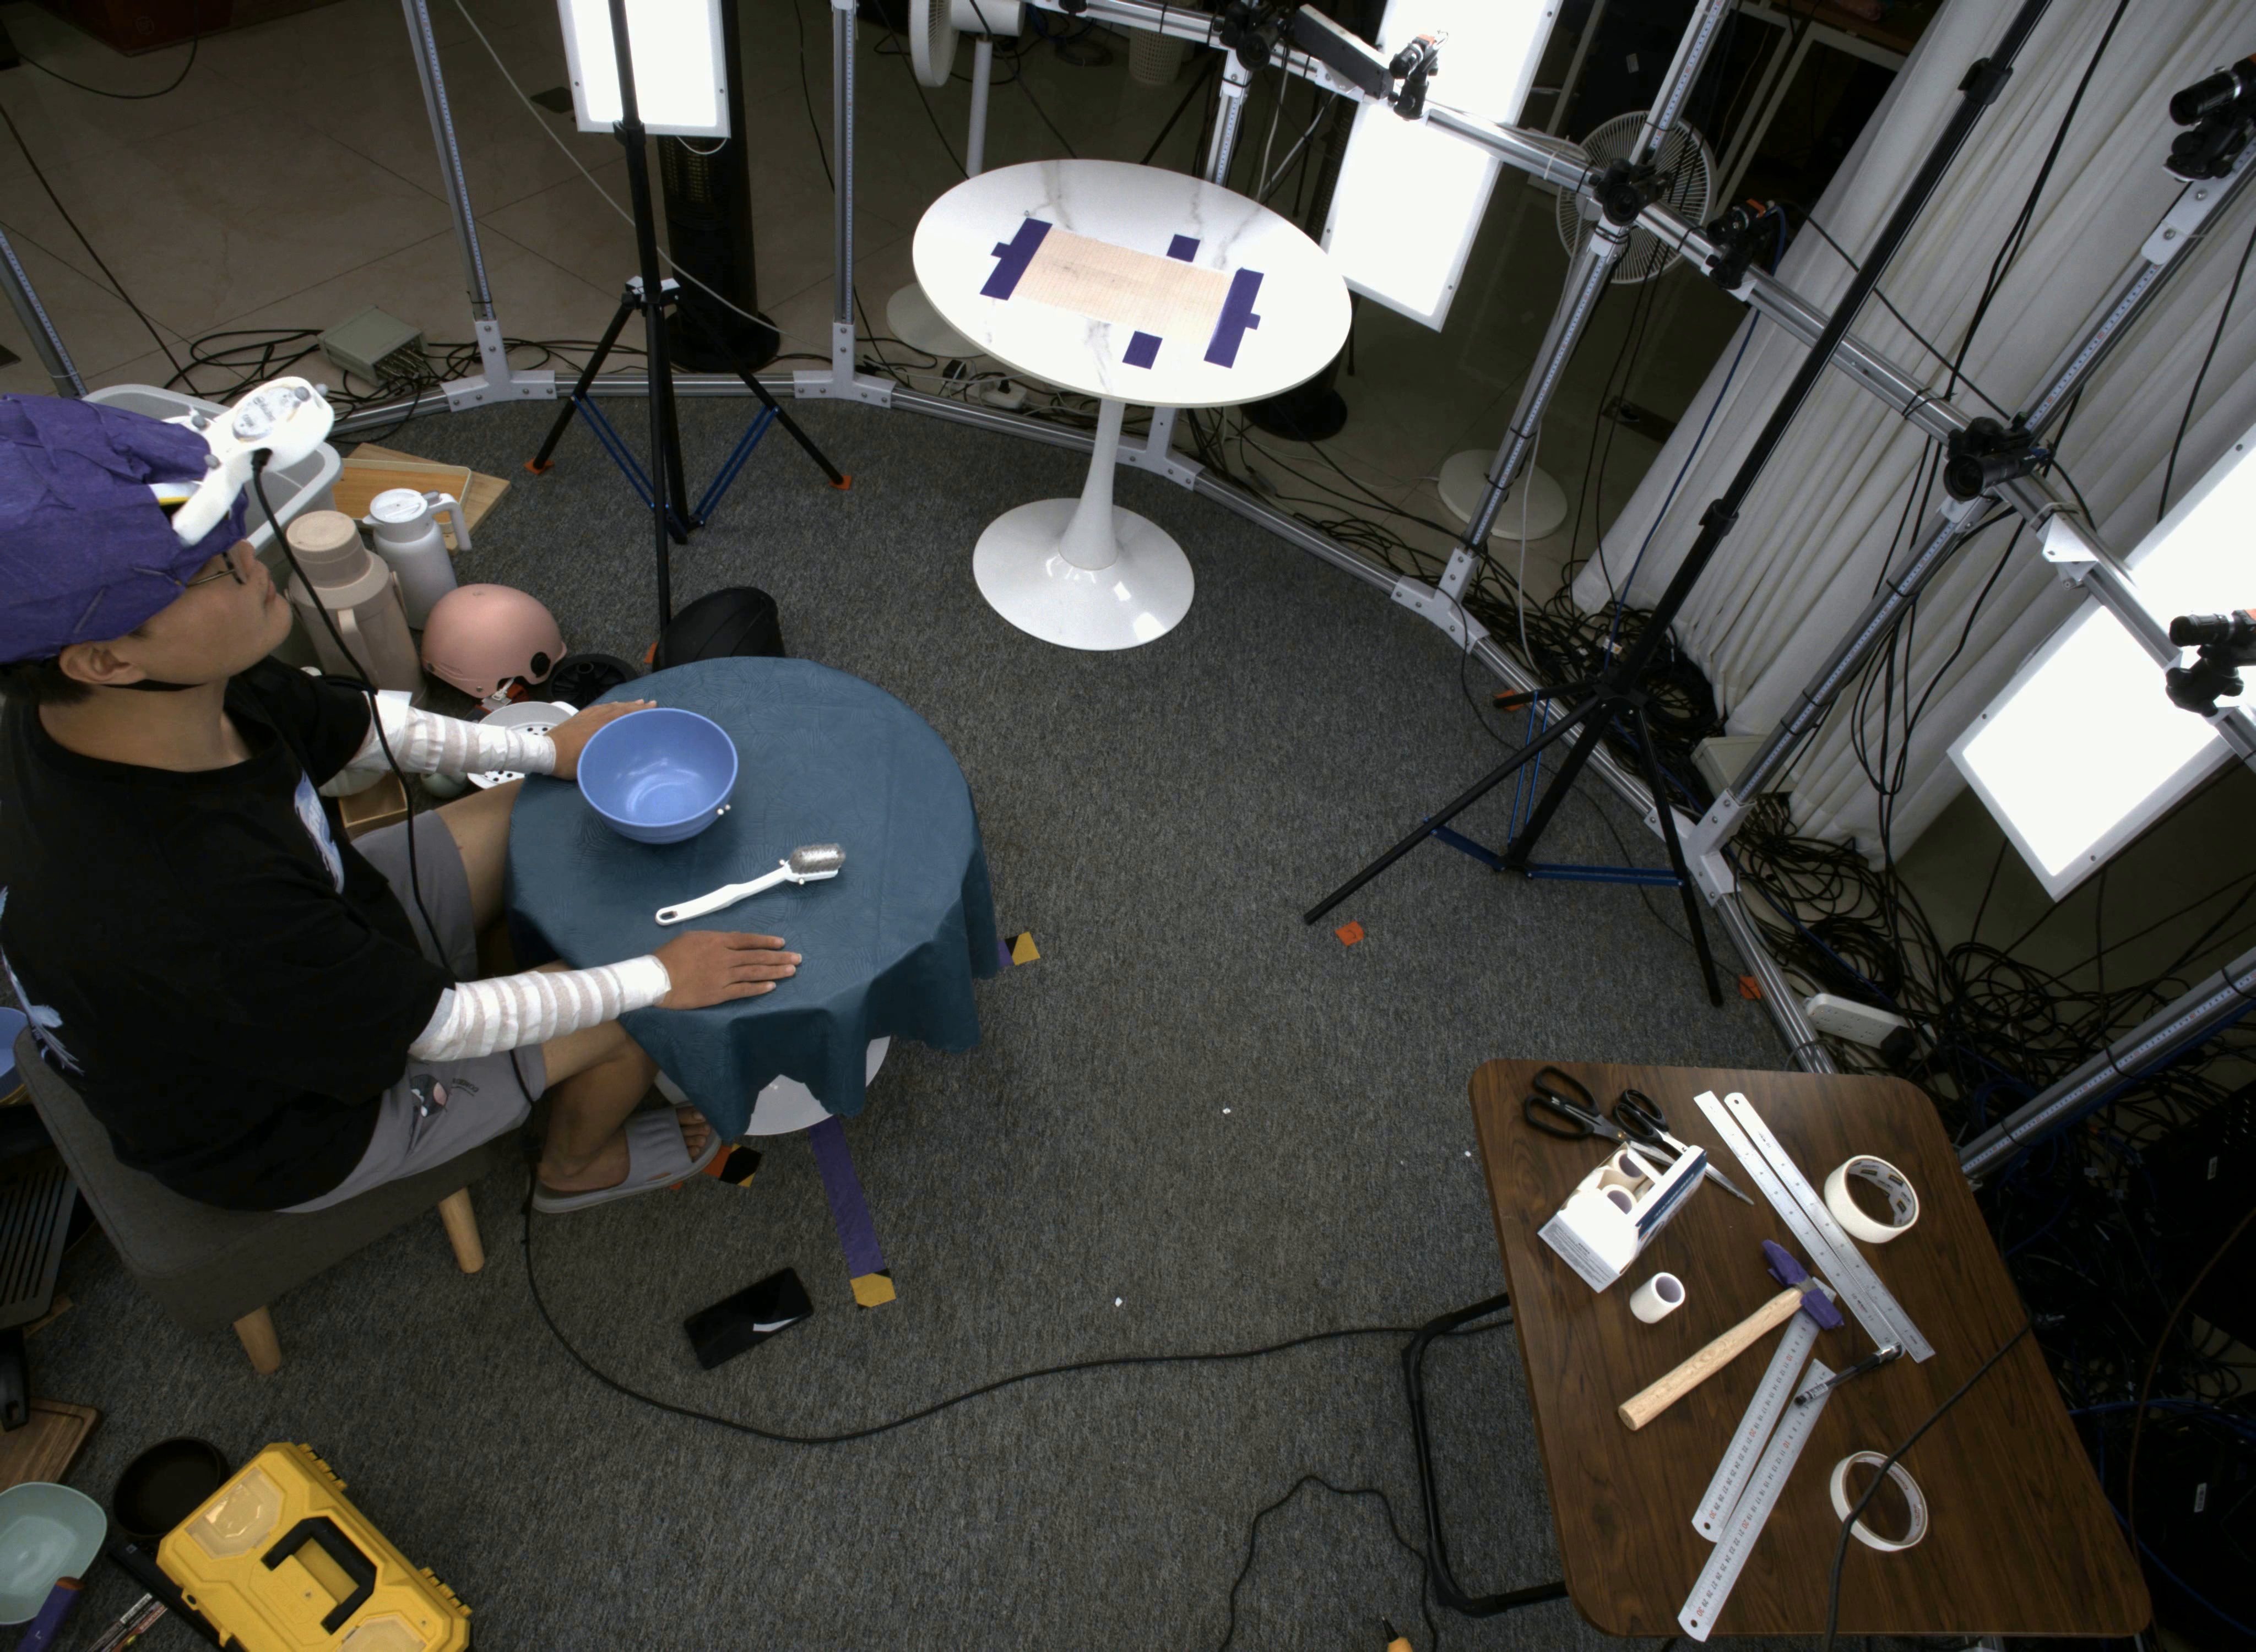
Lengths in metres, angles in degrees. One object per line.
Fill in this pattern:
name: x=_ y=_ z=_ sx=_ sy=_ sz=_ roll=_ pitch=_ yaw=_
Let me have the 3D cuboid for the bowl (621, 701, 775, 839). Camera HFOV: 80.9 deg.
bowl: x=-0.558 y=-0.059 z=1.684 sx=0.196 sy=0.097 sz=0.193 roll=7 pitch=53 yaw=-8

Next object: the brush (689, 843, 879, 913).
brush: x=-0.439 y=0.063 z=1.652 sx=0.245 sy=0.051 sz=0.033 roll=-13 pitch=59 yaw=-22
